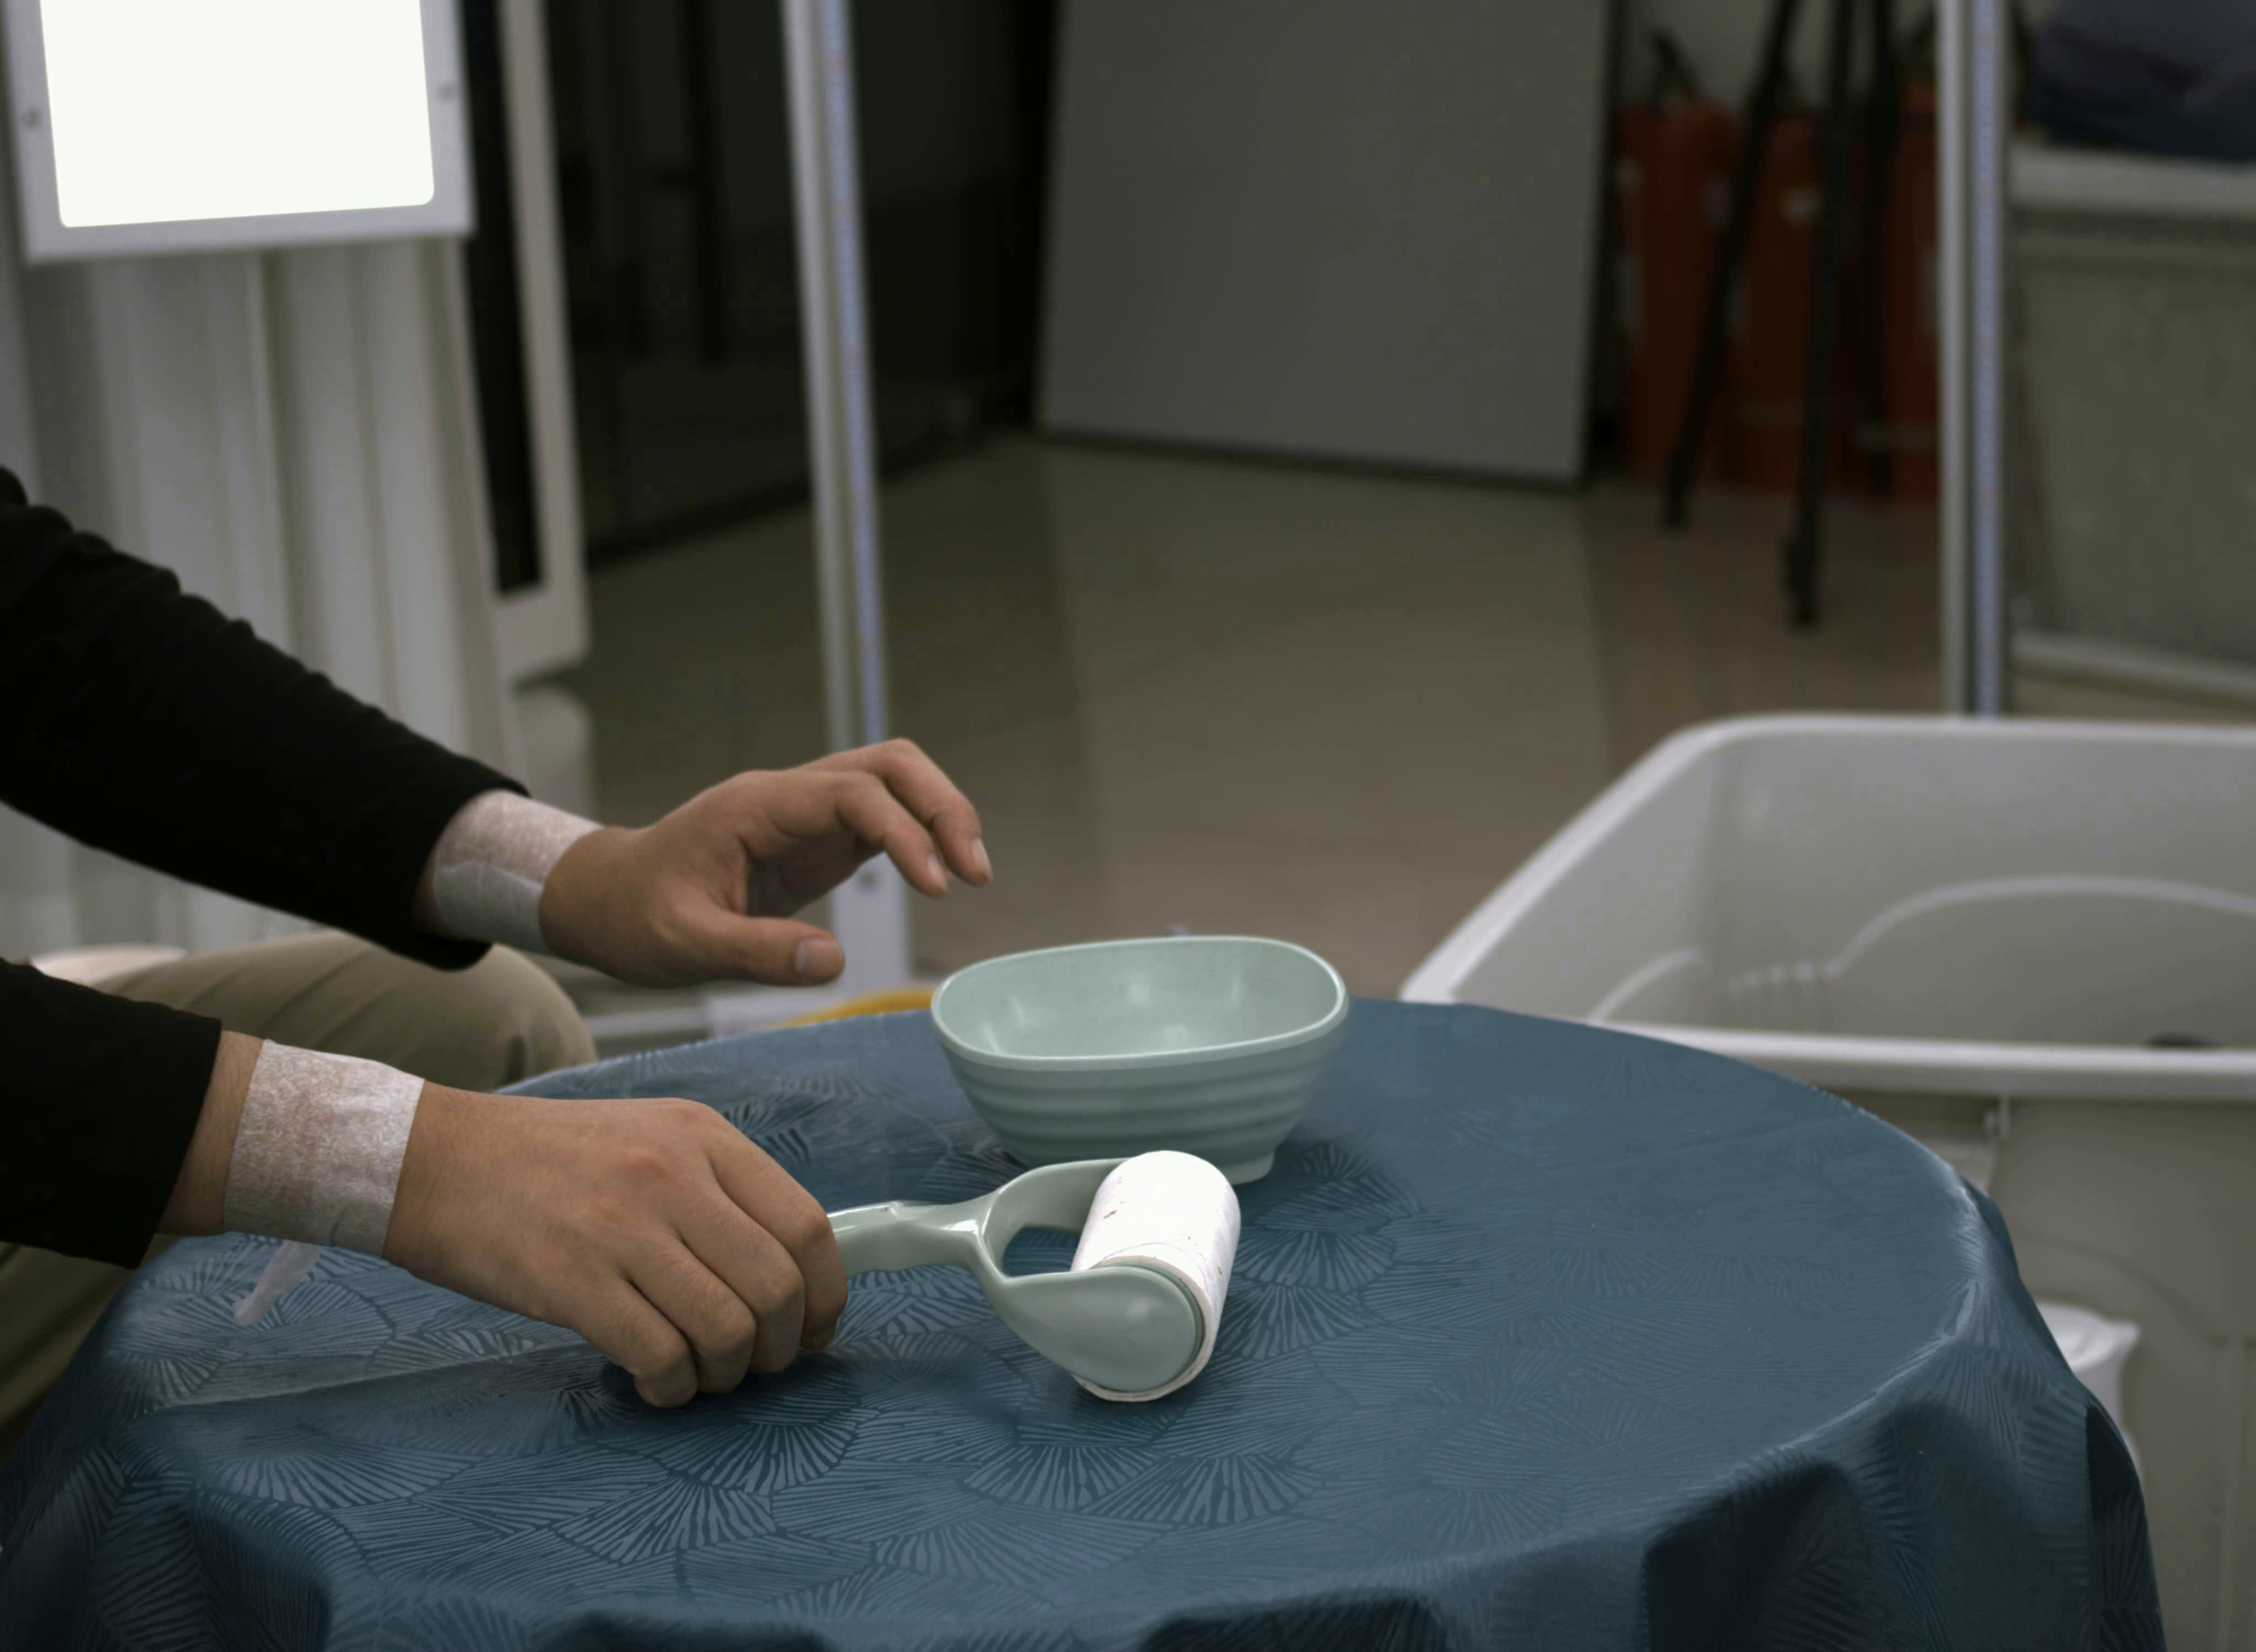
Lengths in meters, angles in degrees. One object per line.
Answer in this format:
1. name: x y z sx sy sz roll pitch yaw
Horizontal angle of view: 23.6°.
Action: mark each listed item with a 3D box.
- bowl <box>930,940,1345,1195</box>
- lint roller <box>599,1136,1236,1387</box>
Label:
1. bowl: 0.004 0.085 1.798 0.149 0.059 0.152 -3 15 0
2. lint roller: -0.064 0.136 1.634 0.196 0.049 0.116 -4 15 8
